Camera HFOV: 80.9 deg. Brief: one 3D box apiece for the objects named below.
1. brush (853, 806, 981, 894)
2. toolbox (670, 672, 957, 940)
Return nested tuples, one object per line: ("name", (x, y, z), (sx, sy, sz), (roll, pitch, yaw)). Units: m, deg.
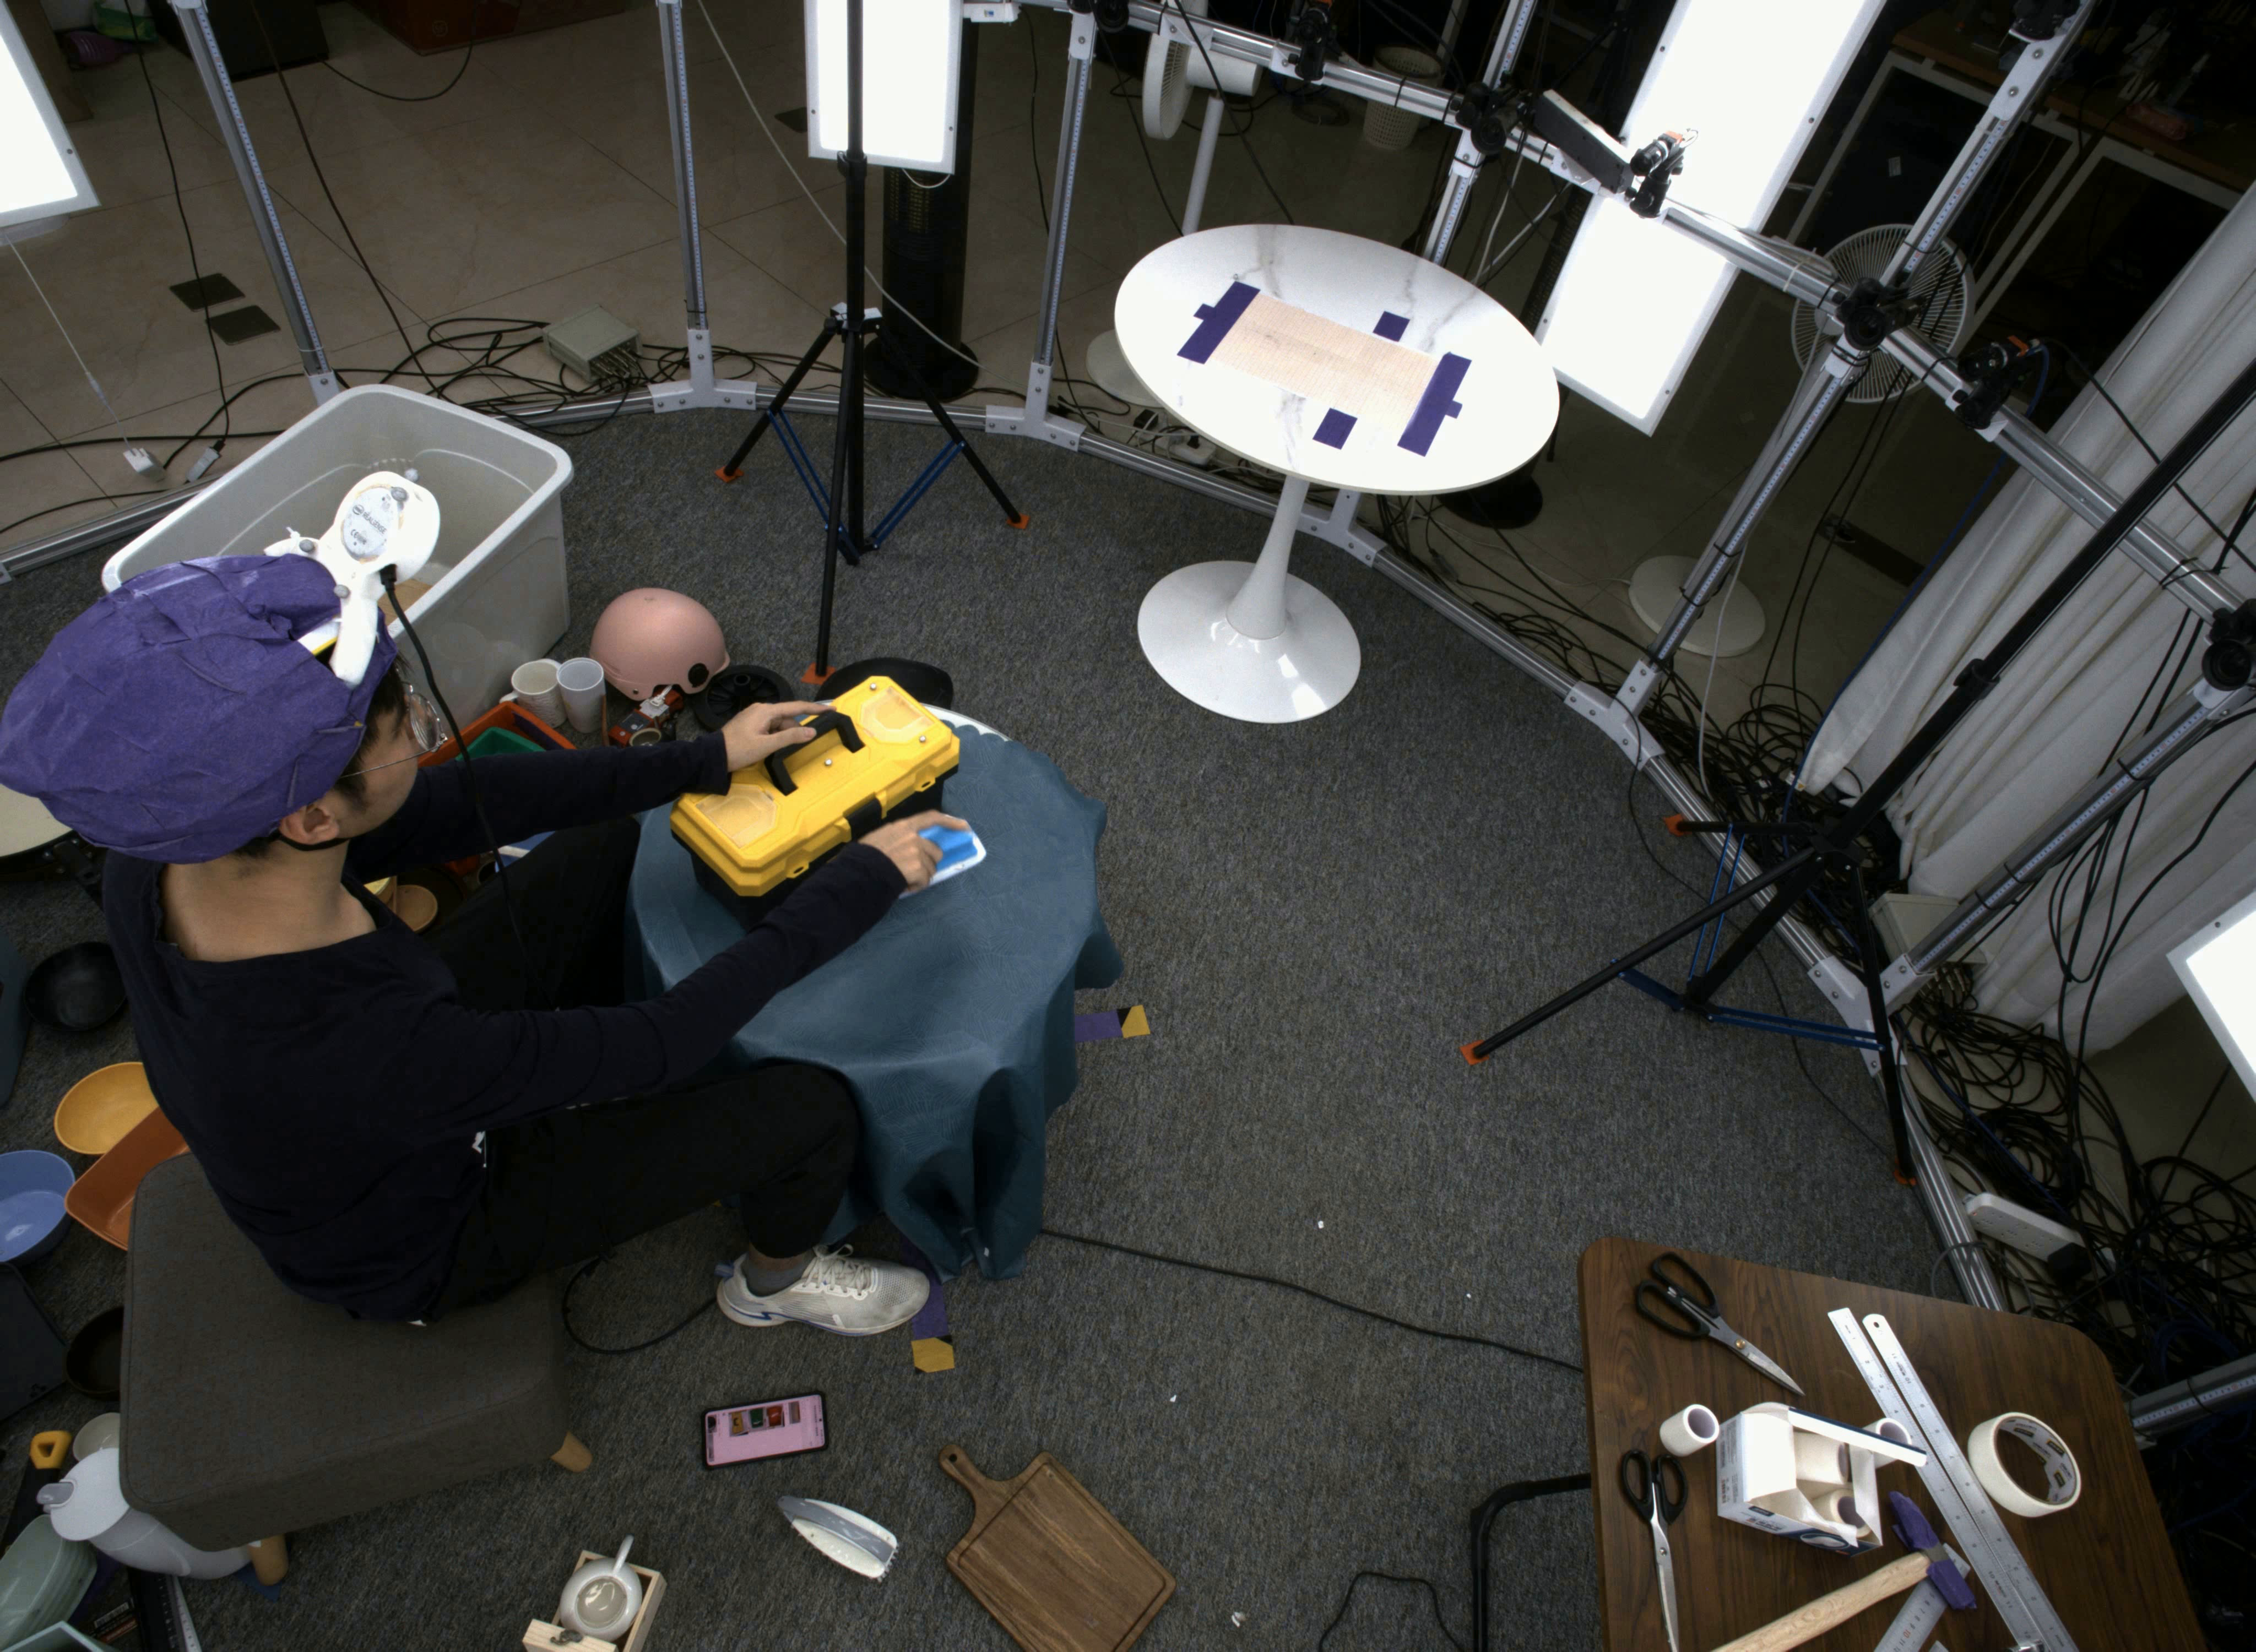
("brush", (-0.247, 0.019, 1.532), (0.145, 0.057, 0.082), (-21, 63, -29))
("toolbox", (-0.388, -0.026, 1.641), (0.177, 0.176, 0.352), (39, 55, 18))
